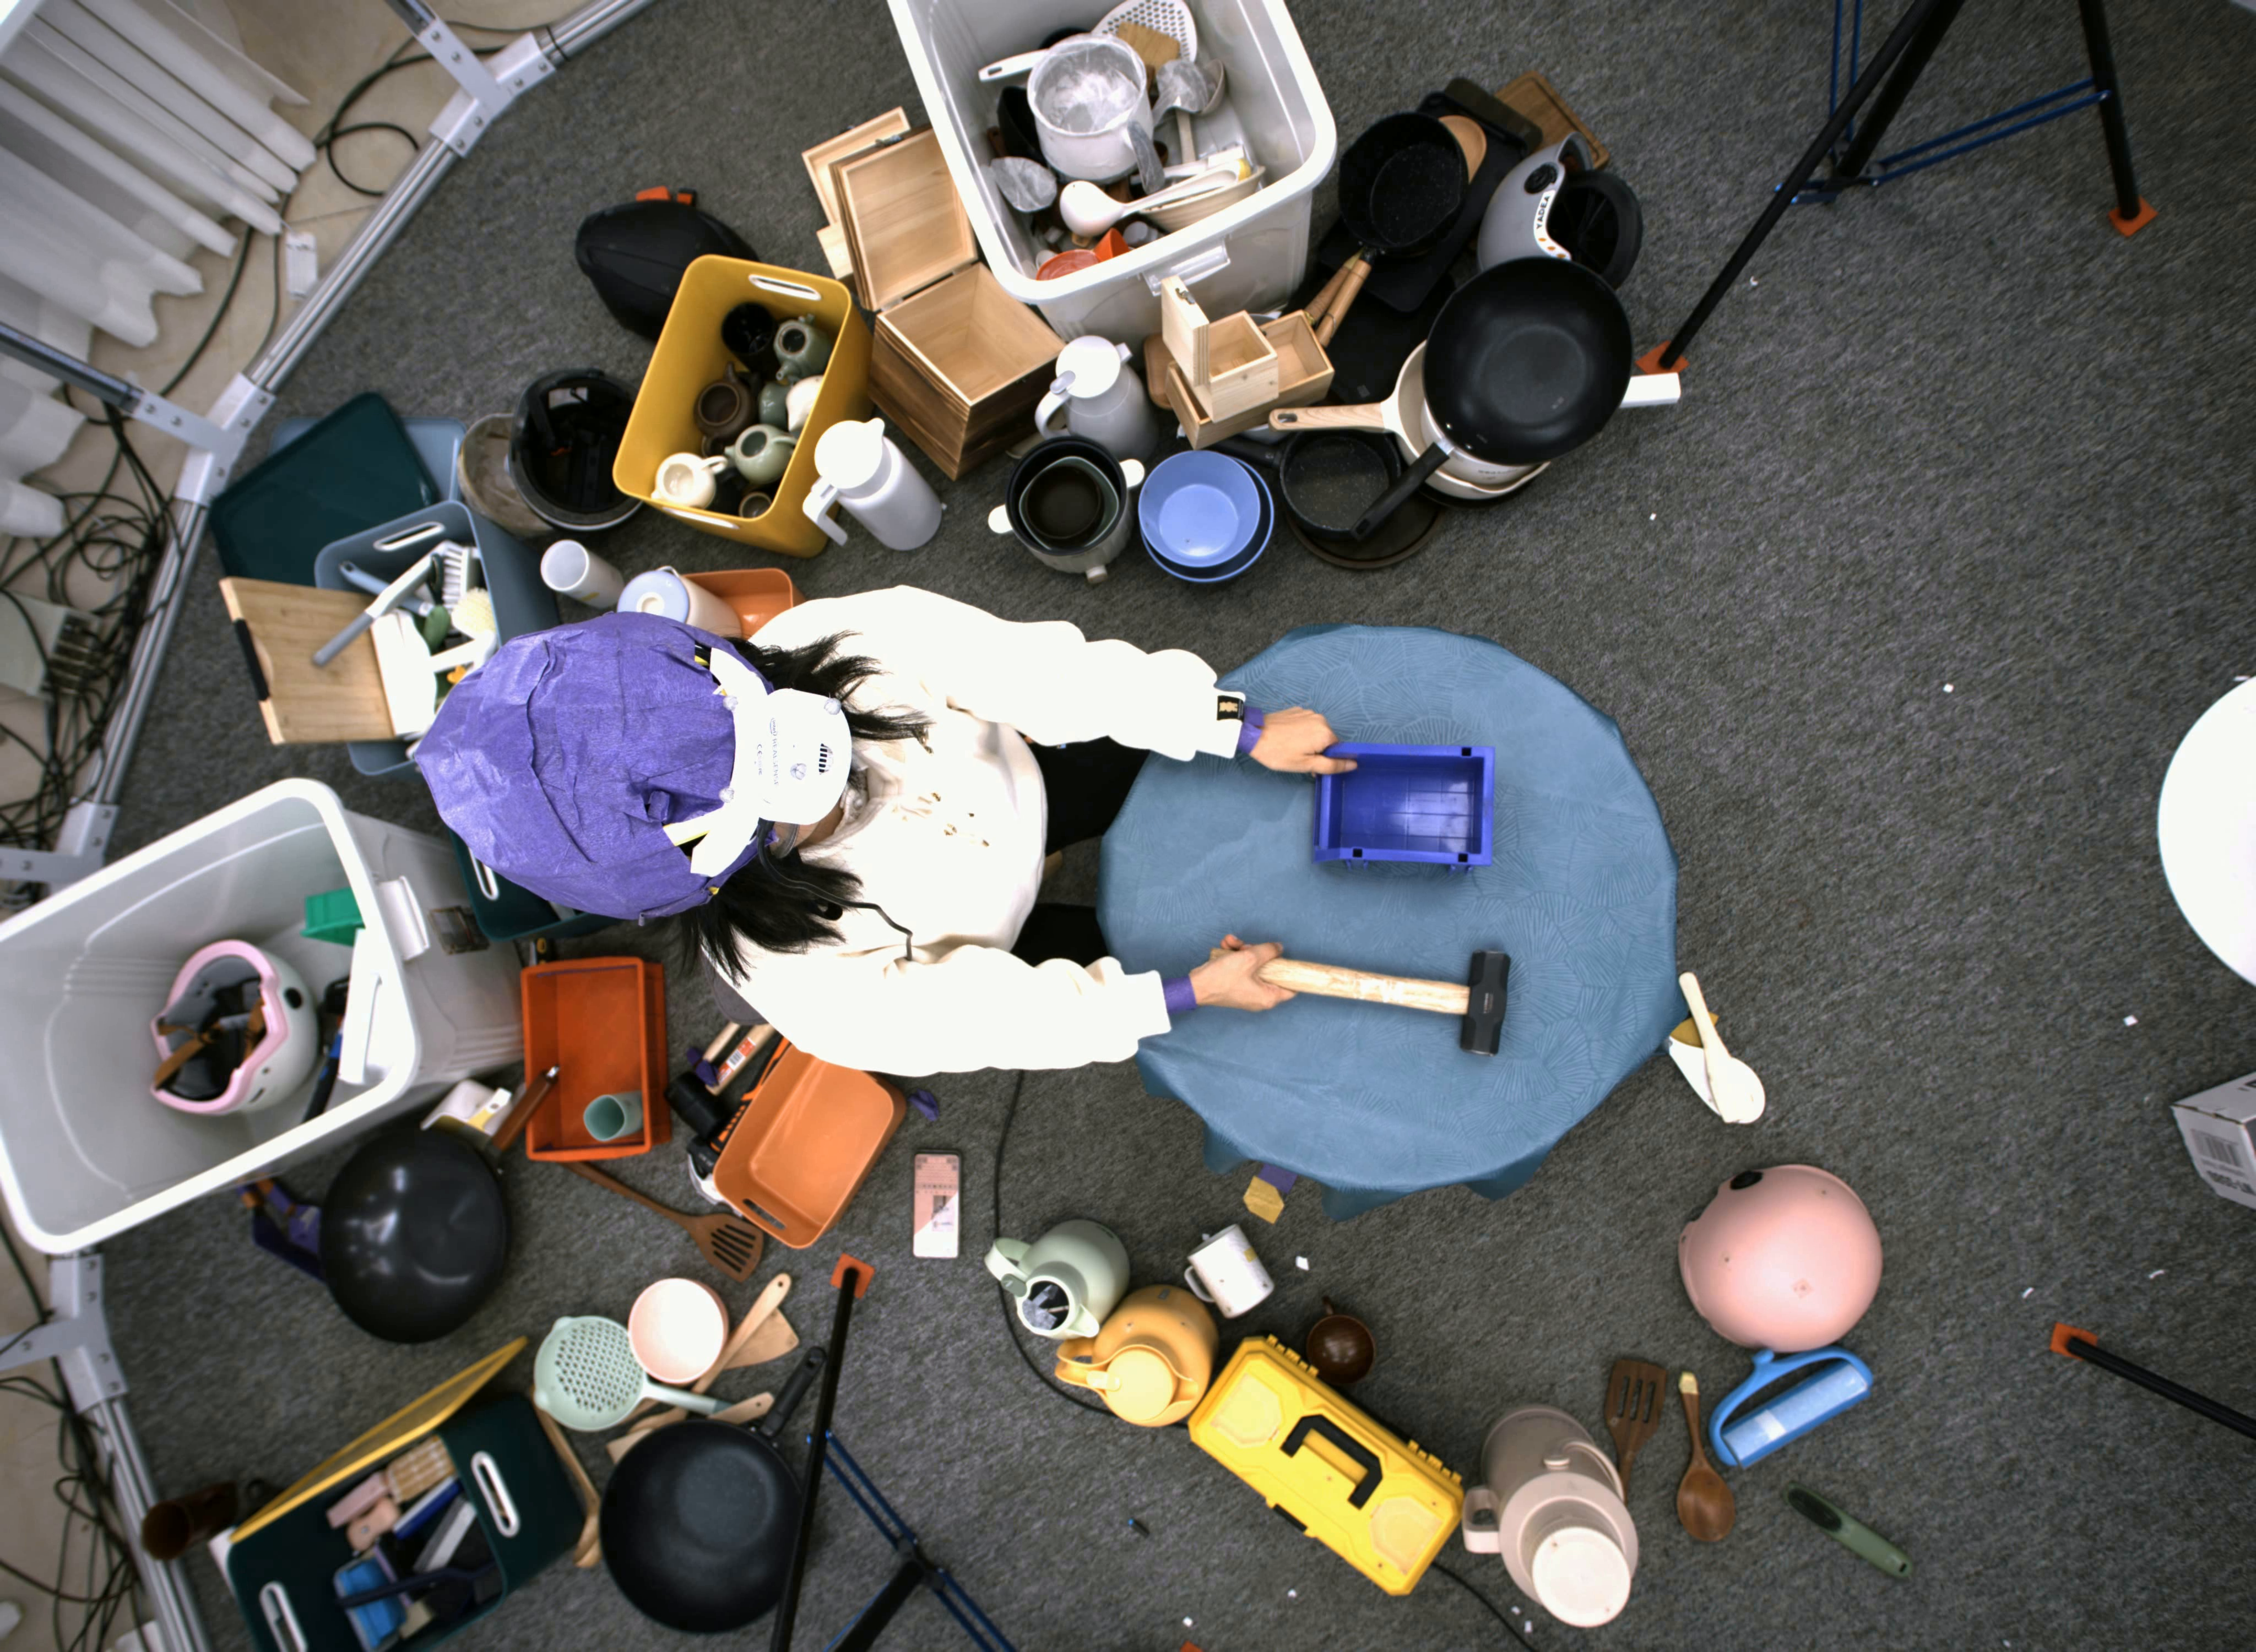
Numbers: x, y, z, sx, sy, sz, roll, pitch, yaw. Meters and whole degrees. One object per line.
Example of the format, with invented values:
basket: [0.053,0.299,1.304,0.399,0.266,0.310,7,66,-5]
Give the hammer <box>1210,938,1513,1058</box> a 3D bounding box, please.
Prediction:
hammer: [0.237,0.159,1.430,0.306,0.038,0.107,10,88,6]

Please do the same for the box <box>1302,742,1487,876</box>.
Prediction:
box: [0.273,-0.018,1.422,0.180,0.082,0.124,3,86,8]
